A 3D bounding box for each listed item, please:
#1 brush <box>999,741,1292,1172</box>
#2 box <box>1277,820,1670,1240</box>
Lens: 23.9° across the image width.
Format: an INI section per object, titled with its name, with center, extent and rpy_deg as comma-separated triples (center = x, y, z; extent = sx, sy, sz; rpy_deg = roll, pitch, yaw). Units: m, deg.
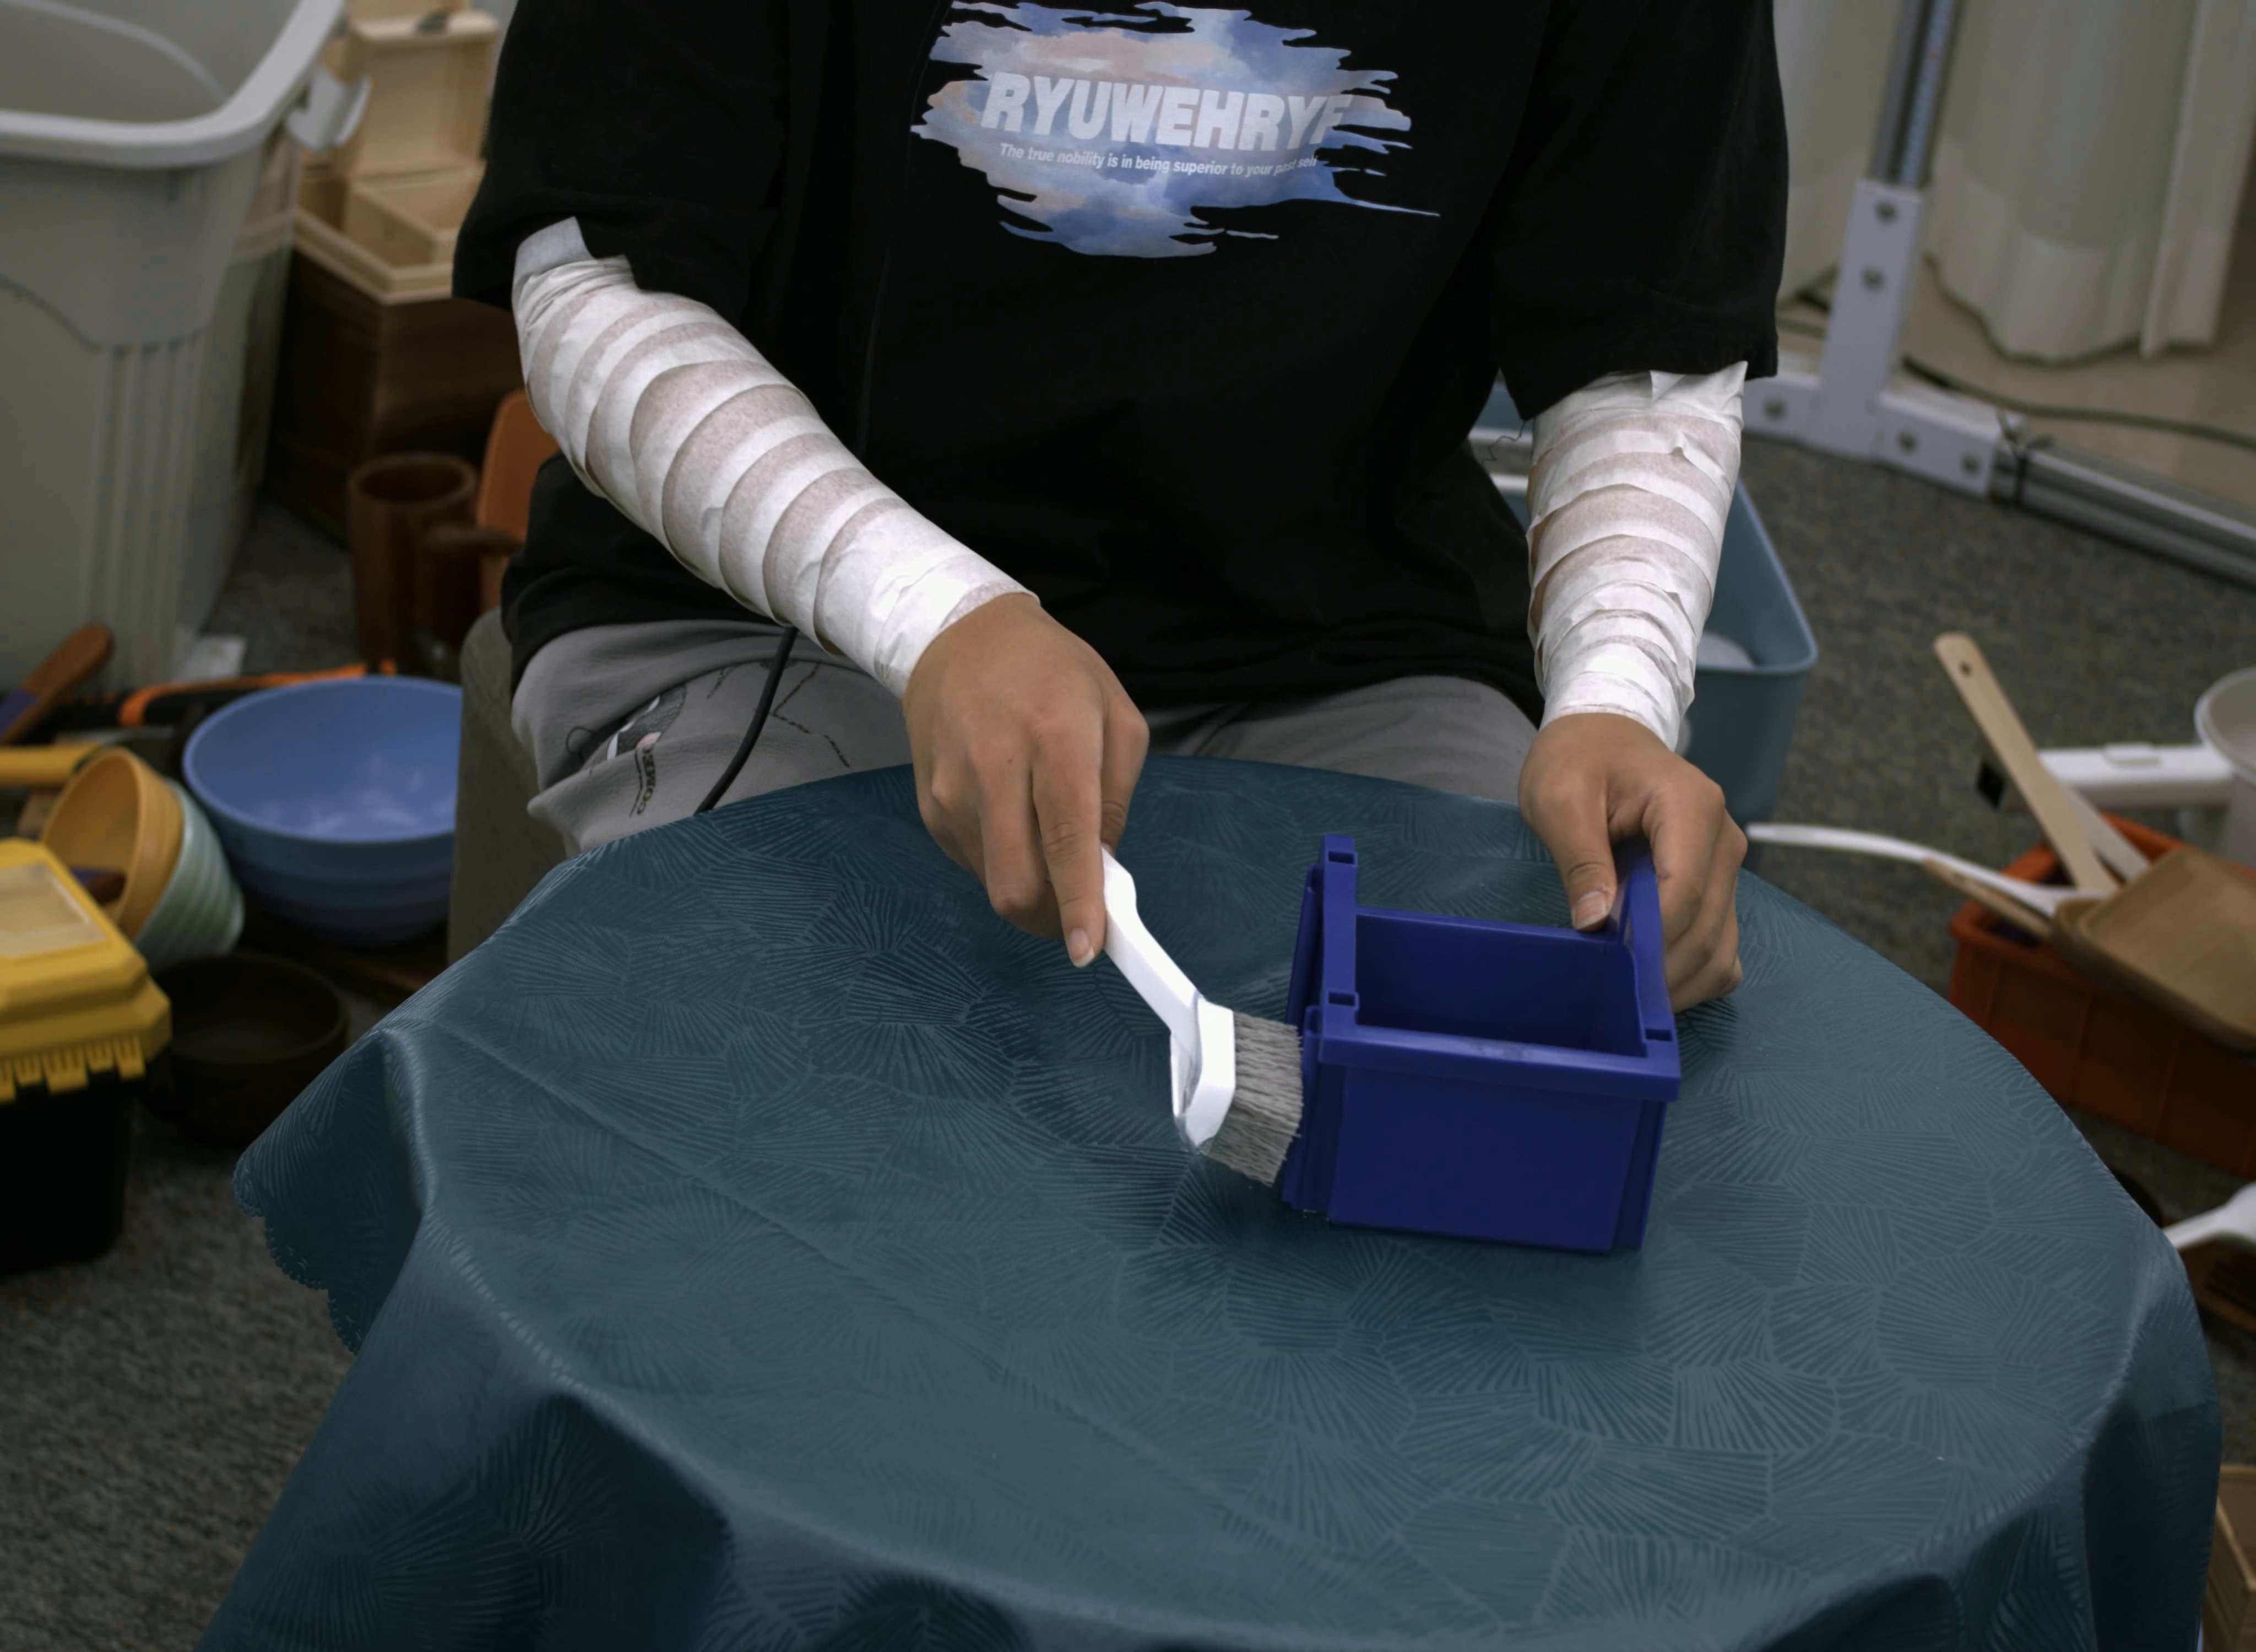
[brush]
center = 0.008, 0.041, 1.858
extent = 0.050, 0.034, 0.246
rpy_deg = 10, 27, -24
[box]
center = 0.120, 0.066, 1.856
extent = 0.124, 0.081, 0.180
rpy_deg = 7, 28, 1
